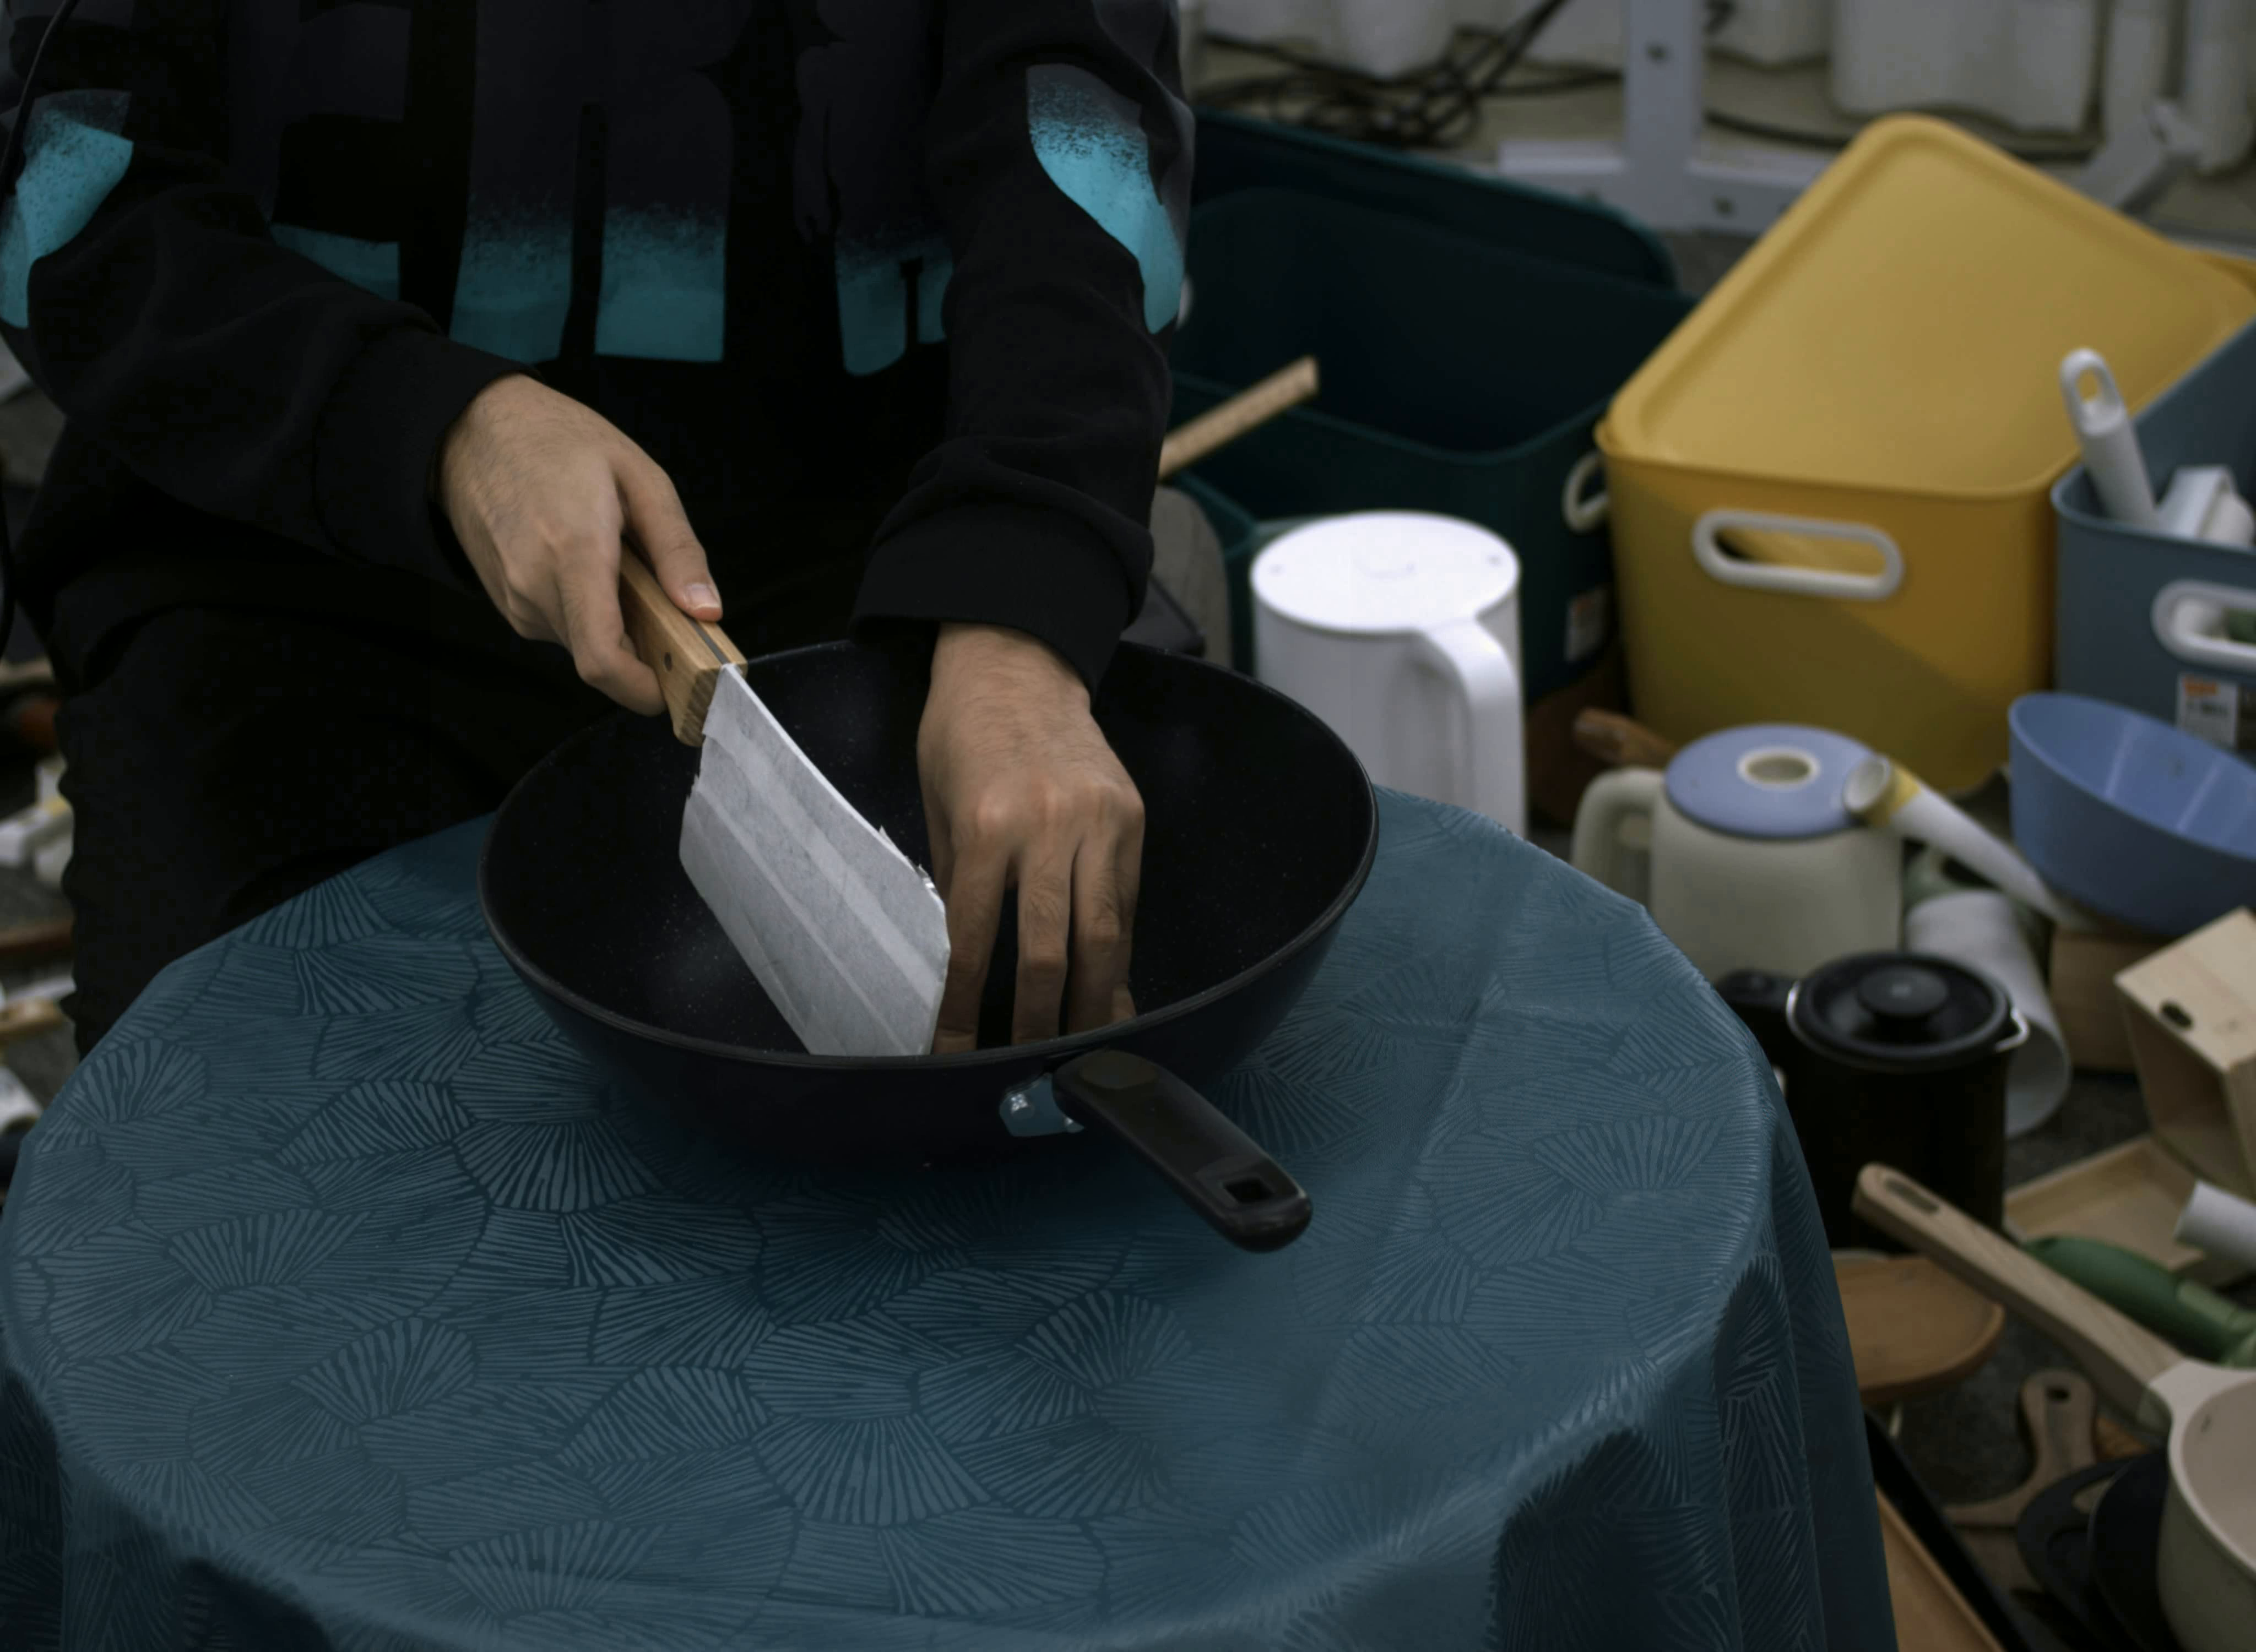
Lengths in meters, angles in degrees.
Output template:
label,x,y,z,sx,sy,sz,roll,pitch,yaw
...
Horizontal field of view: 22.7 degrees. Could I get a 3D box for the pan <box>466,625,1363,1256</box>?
label,x,y,z,sx,sy,sz,roll,pitch,yaw
pan,-0.041,0.063,1.867,0.311,0.110,0.481,-14,29,-17

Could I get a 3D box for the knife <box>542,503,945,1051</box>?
label,x,y,z,sx,sy,sz,roll,pitch,yaw
knife,-0.133,-0.015,1.936,0.022,0.112,0.318,-4,38,-30
